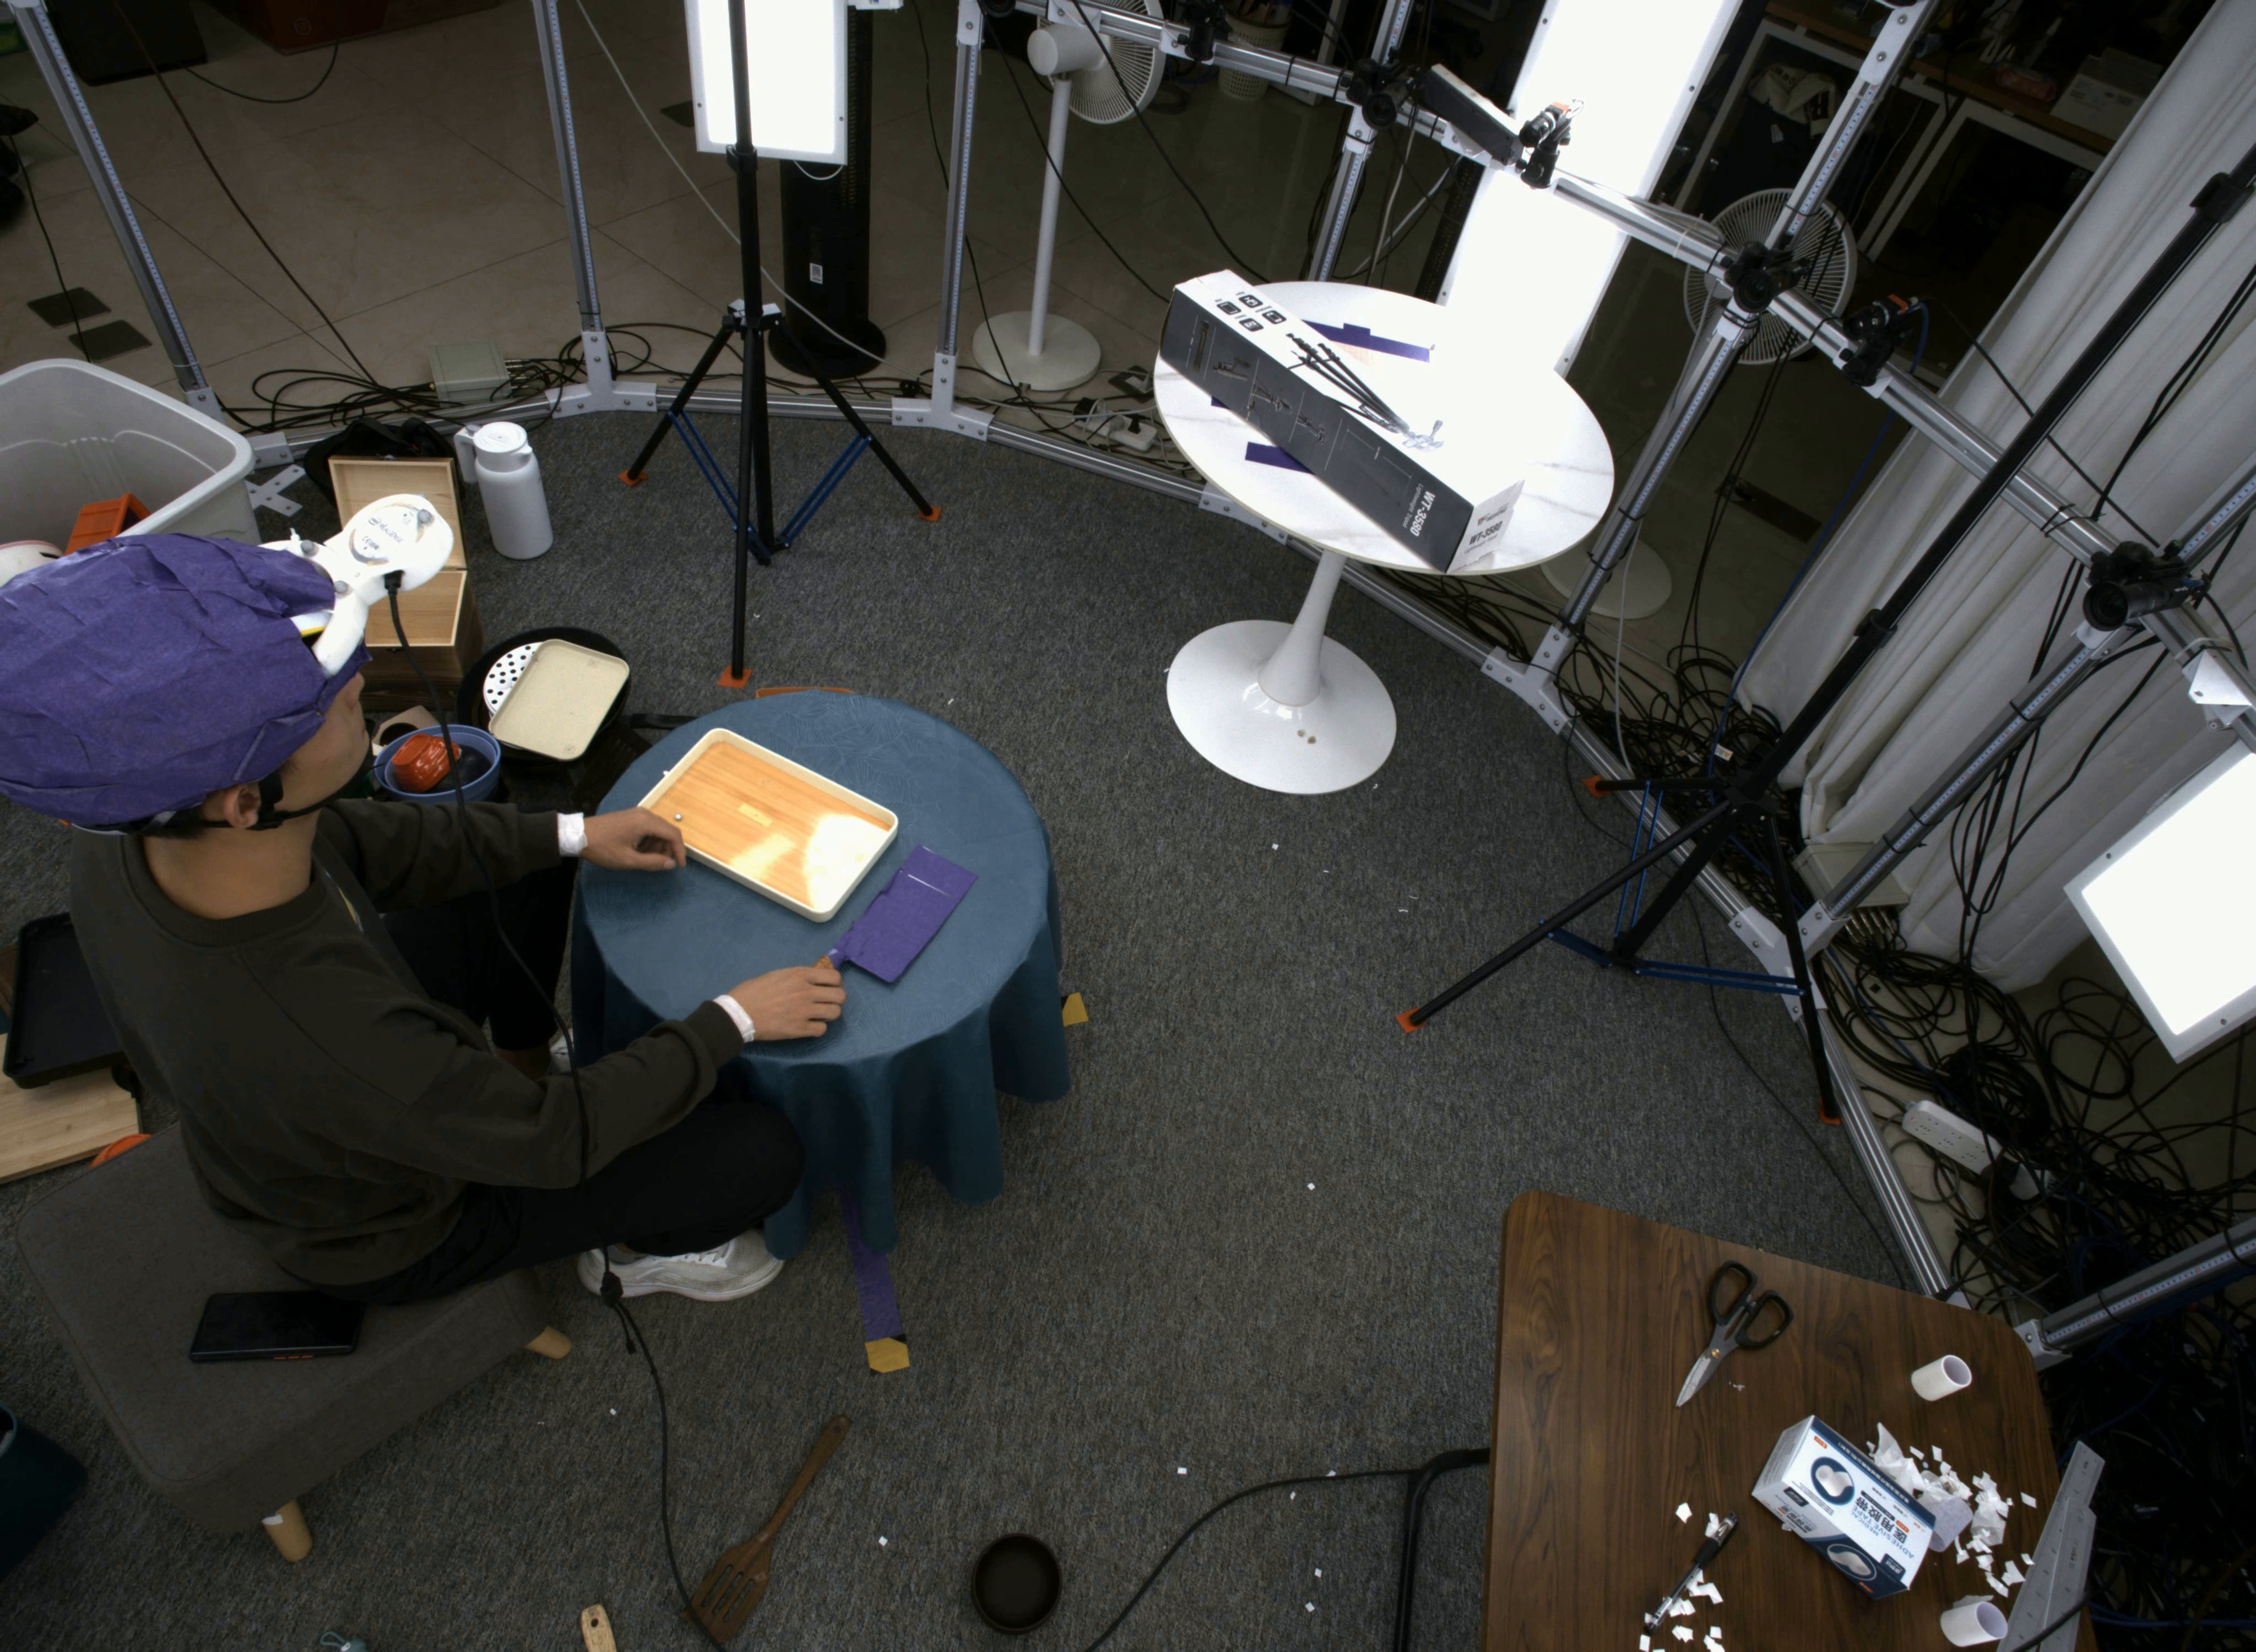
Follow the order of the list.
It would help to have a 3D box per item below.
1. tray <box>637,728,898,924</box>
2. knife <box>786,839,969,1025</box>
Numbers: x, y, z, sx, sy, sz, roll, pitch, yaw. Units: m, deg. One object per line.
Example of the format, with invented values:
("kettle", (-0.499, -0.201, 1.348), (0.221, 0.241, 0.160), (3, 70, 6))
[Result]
("tray", (-0.474, -0.005, 1.709), (0.296, 0.028, 0.190), (26, 53, 5))
("knife", (-0.308, 0.137, 1.646), (0.102, 0.033, 0.313), (27, 52, 7))
